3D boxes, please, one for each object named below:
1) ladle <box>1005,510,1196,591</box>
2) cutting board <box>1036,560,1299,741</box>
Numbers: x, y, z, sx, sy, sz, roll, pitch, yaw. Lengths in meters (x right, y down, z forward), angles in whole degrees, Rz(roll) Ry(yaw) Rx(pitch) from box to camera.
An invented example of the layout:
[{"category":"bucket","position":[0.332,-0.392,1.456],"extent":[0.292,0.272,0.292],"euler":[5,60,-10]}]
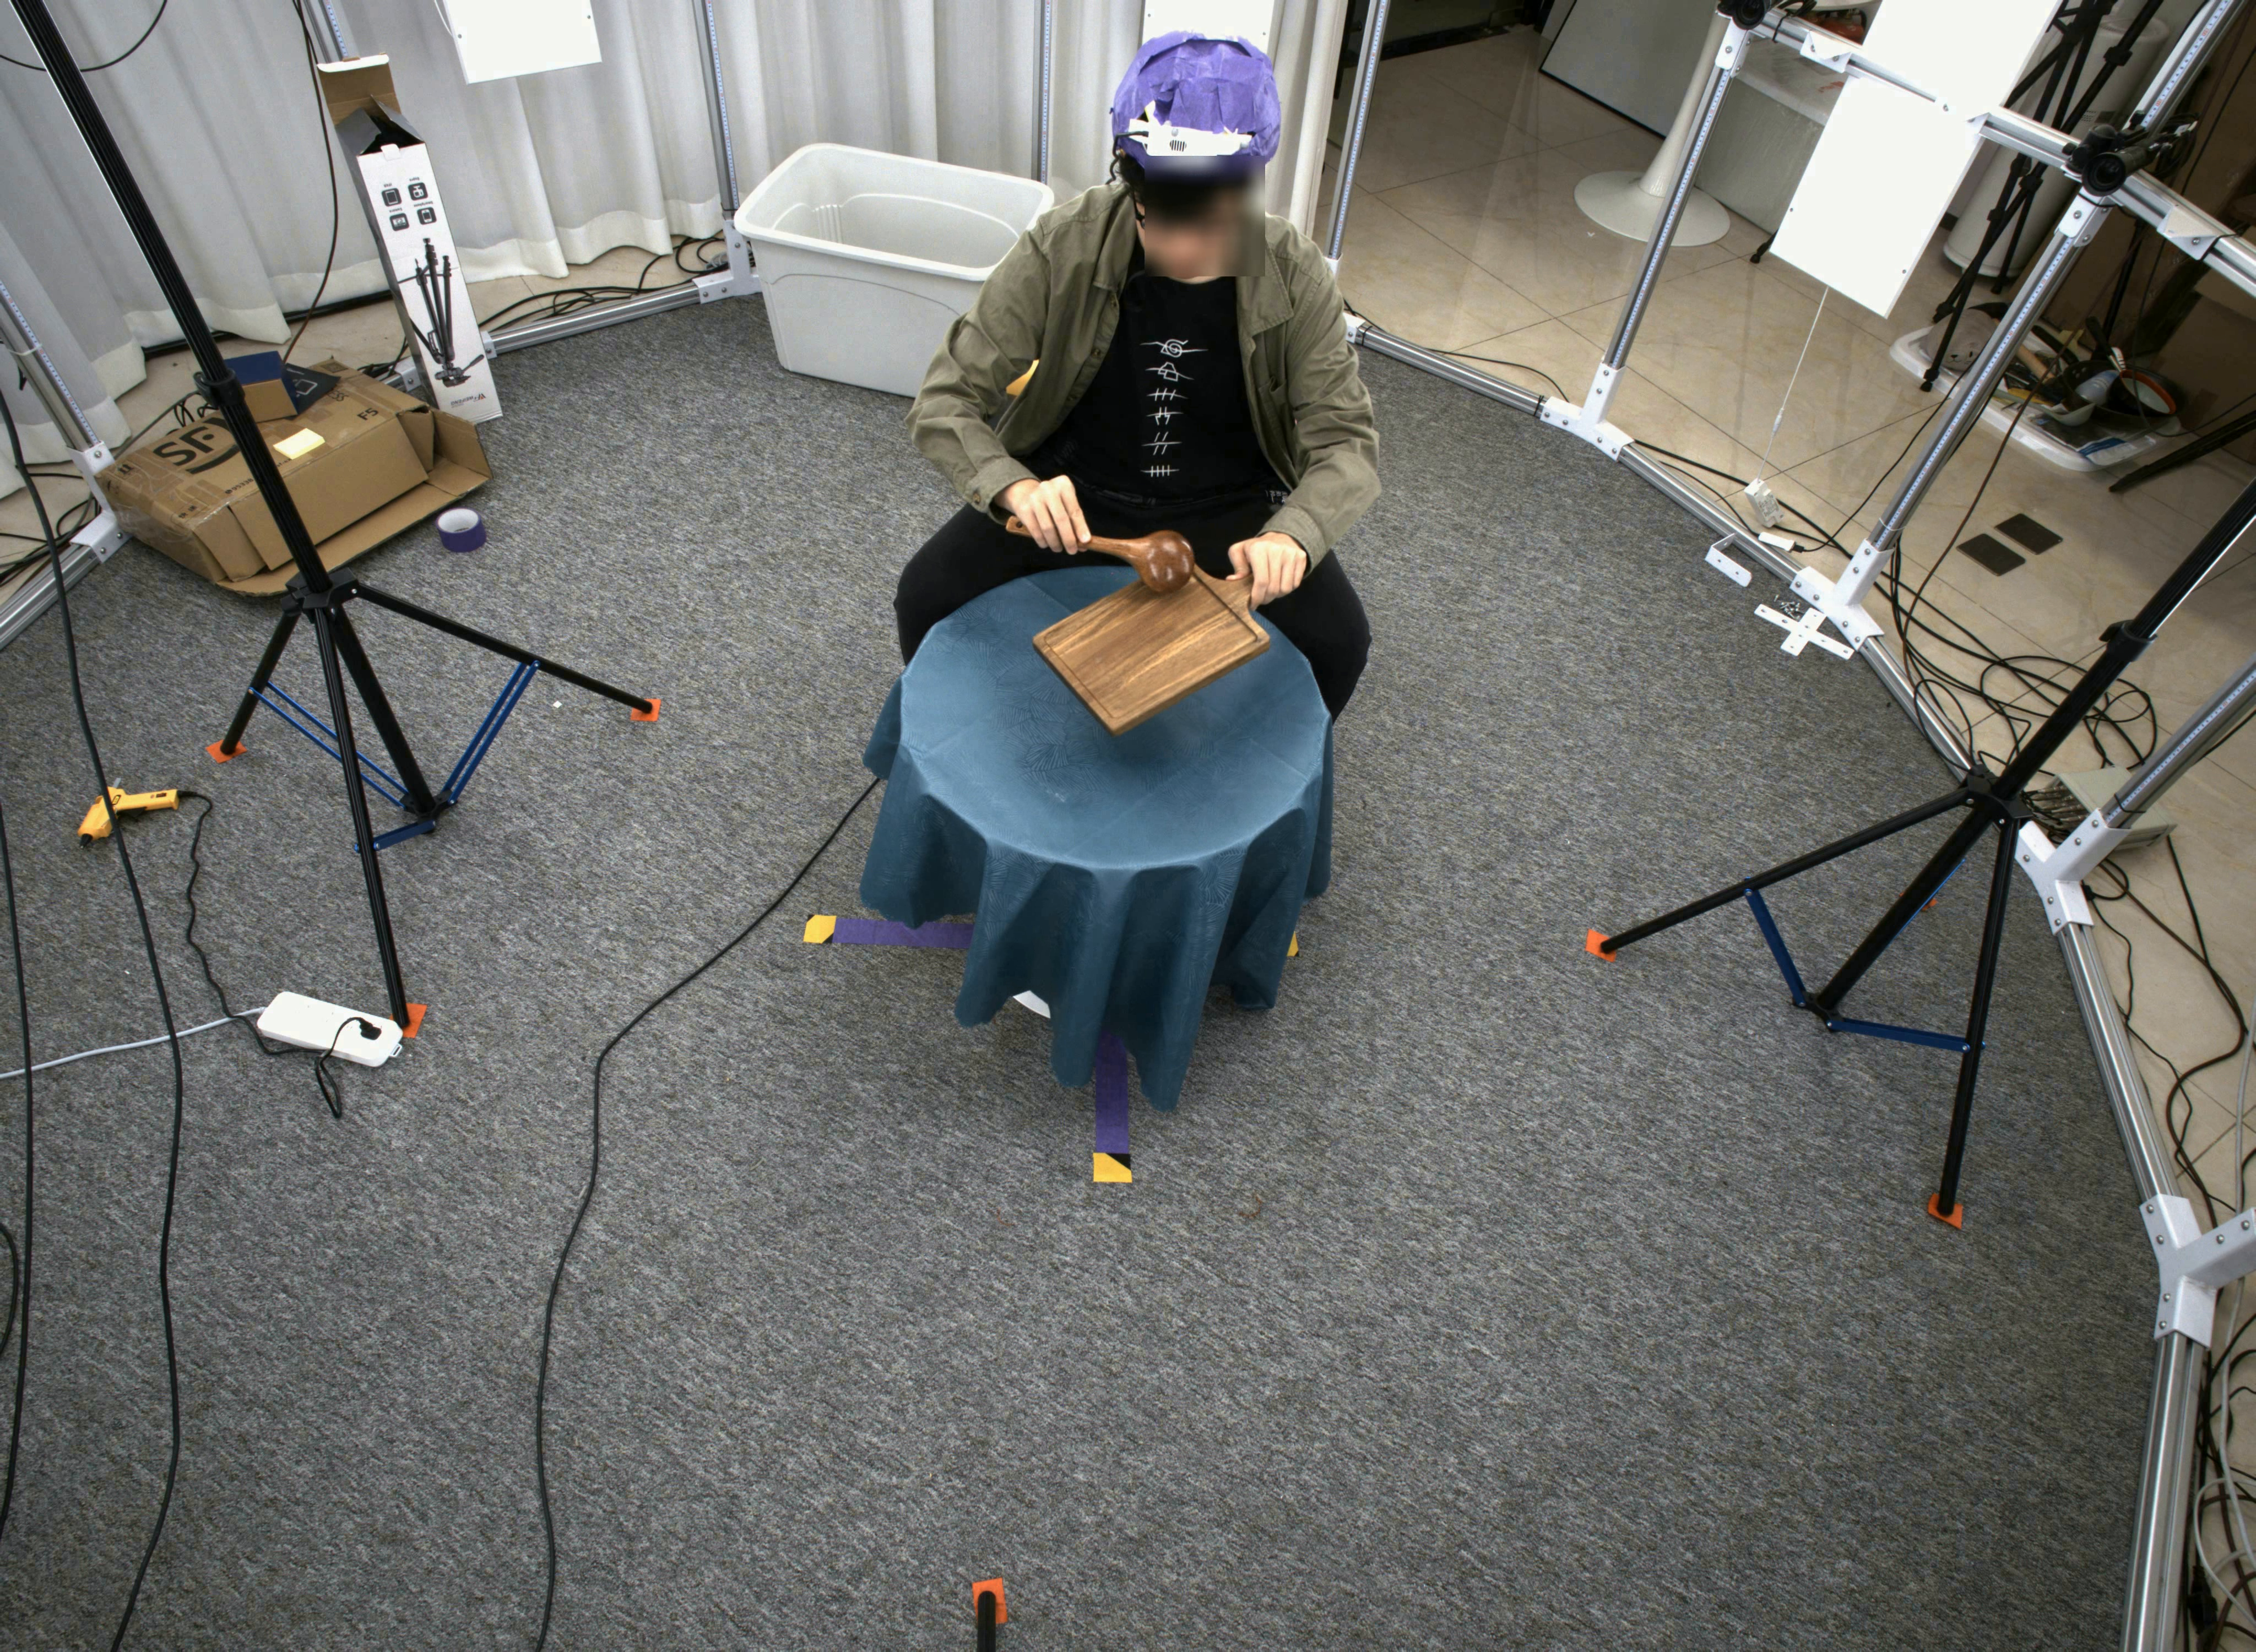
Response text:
[{"category":"ladle","position":[-0.036,-0.381,1.728],"extent":[0.277,0.075,0.082],"euler":[19,86,29]},{"category":"cutting board","position":[0.077,-0.254,1.664],"extent":[0.353,0.022,0.205],"euler":[-29,56,-16]}]
